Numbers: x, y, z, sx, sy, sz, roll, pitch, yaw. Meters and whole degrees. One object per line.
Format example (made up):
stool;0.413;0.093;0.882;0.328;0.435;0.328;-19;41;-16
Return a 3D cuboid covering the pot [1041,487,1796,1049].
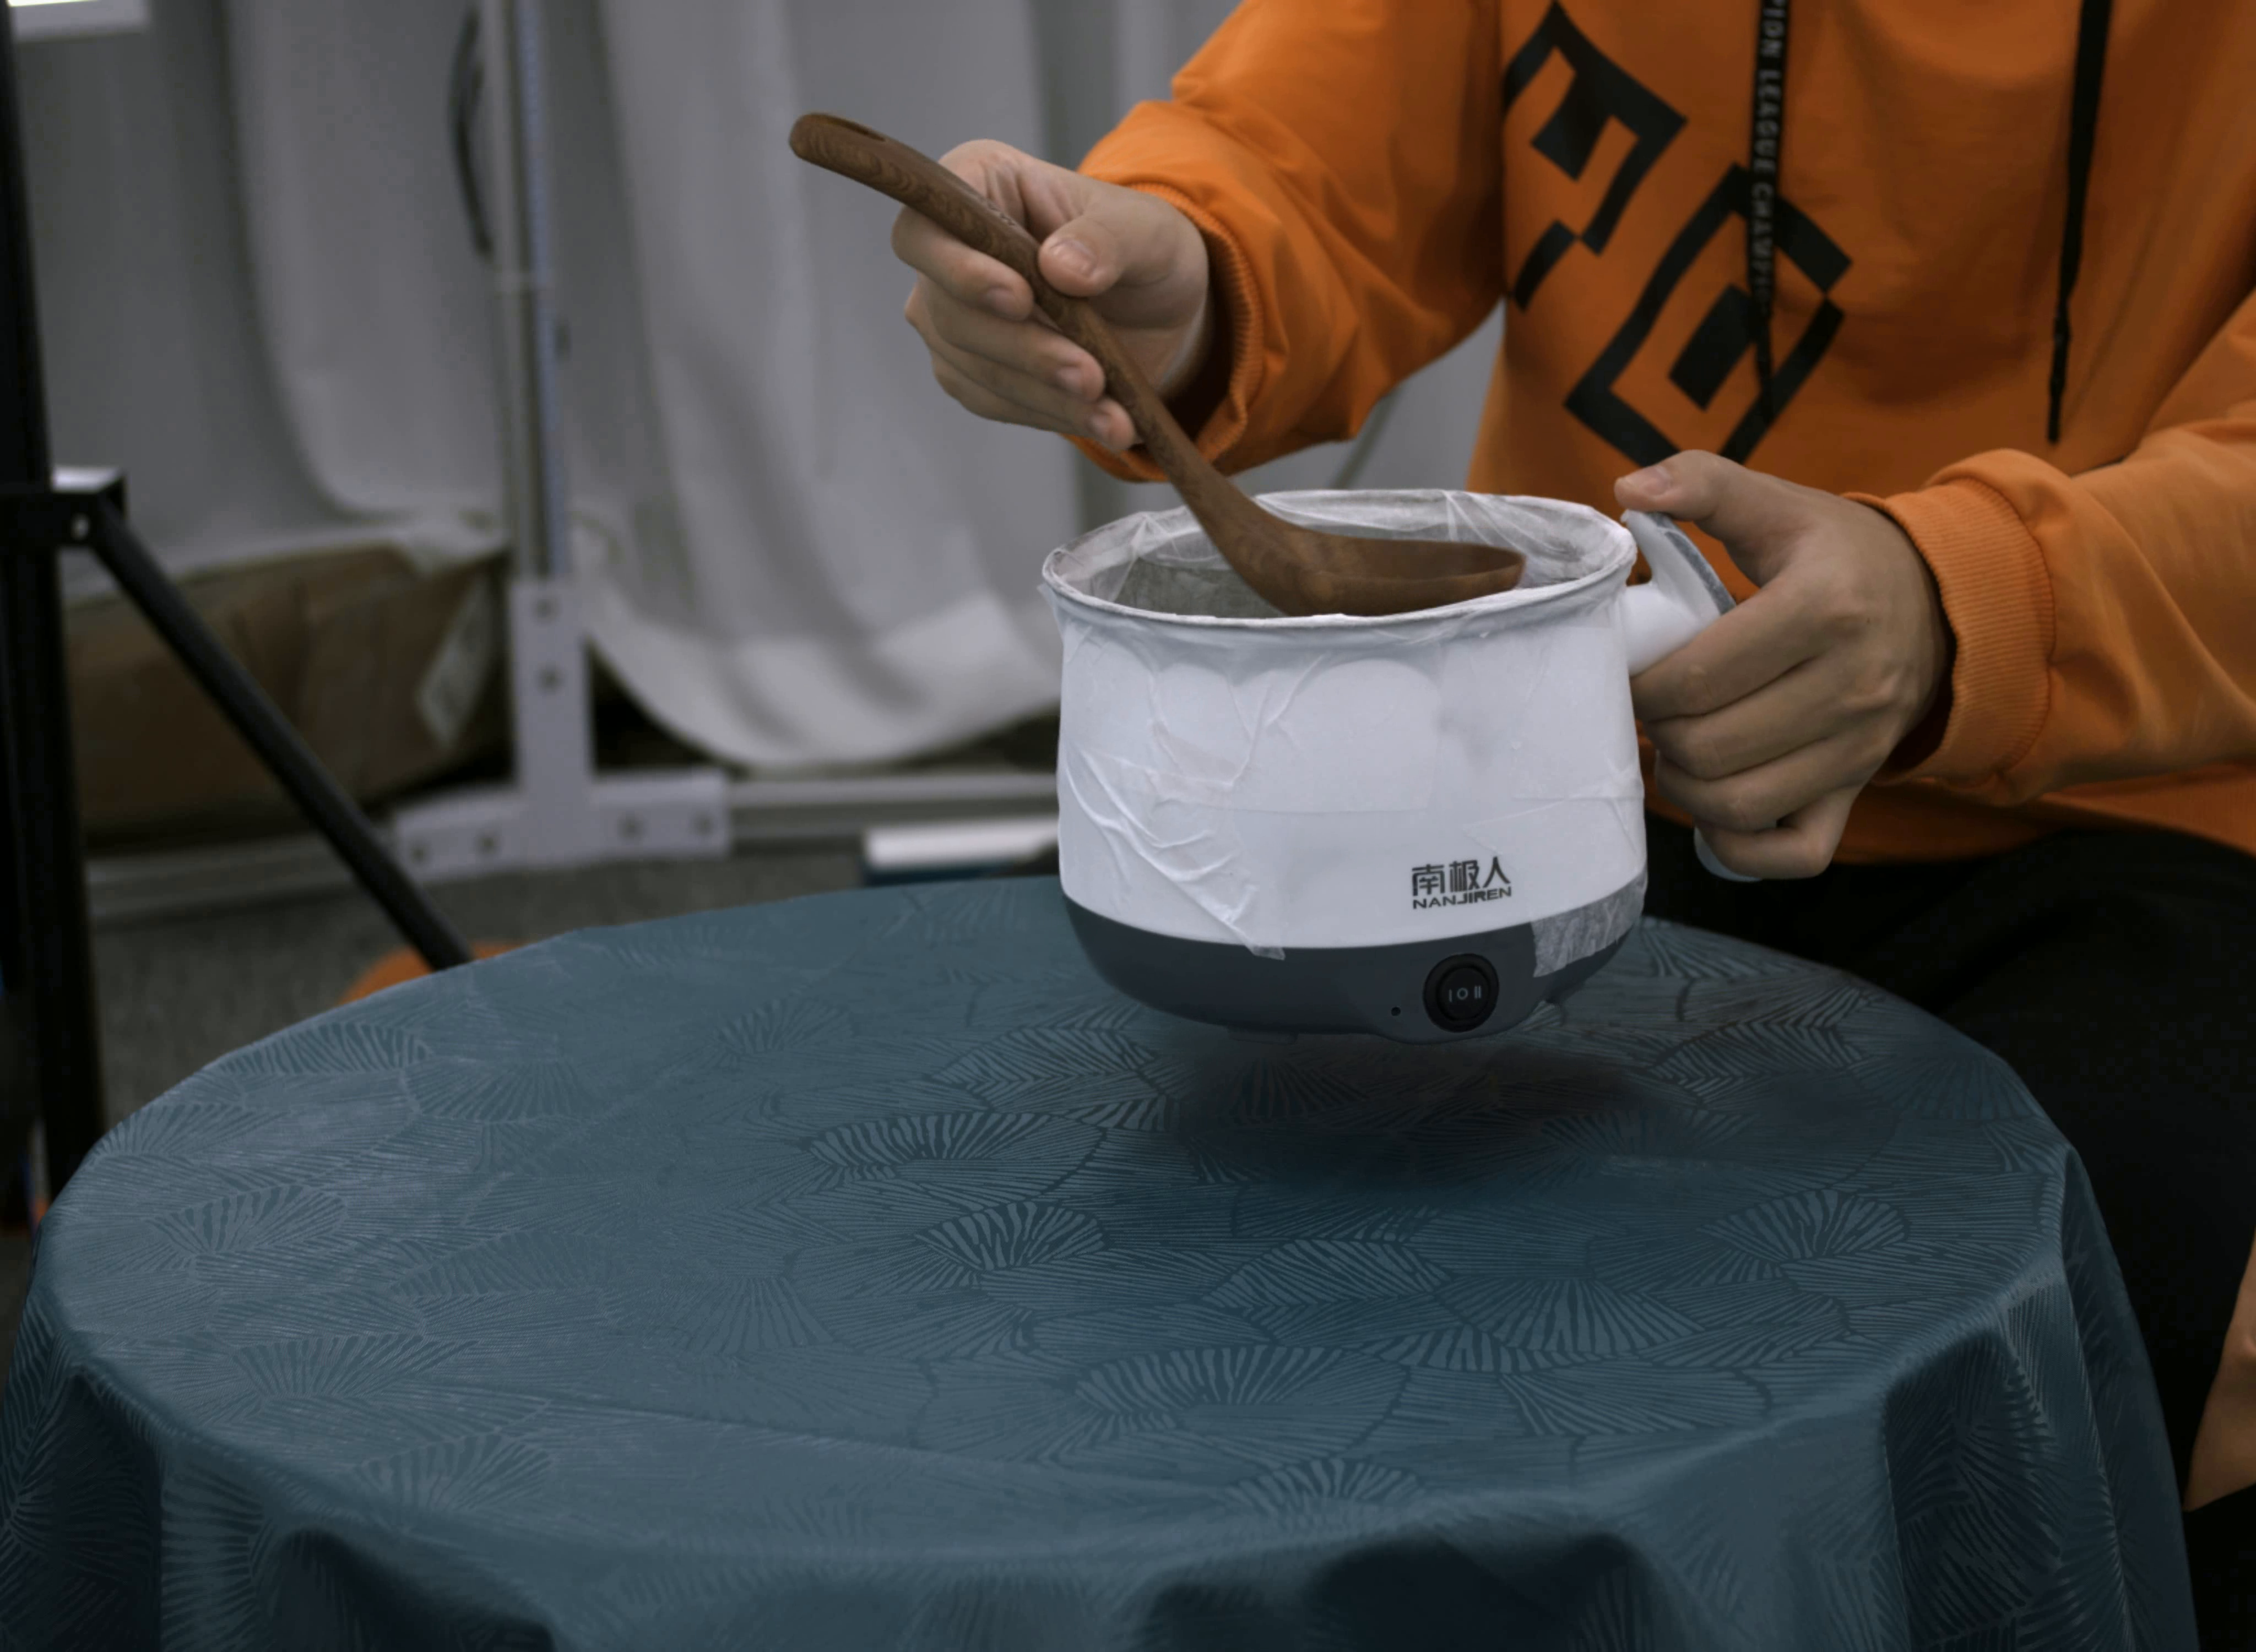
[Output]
pot;0.091;-0.023;1.602;0.230;0.136;0.182;-8;16;-18

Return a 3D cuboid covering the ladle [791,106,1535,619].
ladle;0.012;-0.140;1.578;0.261;0.065;0.076;44;12;5
